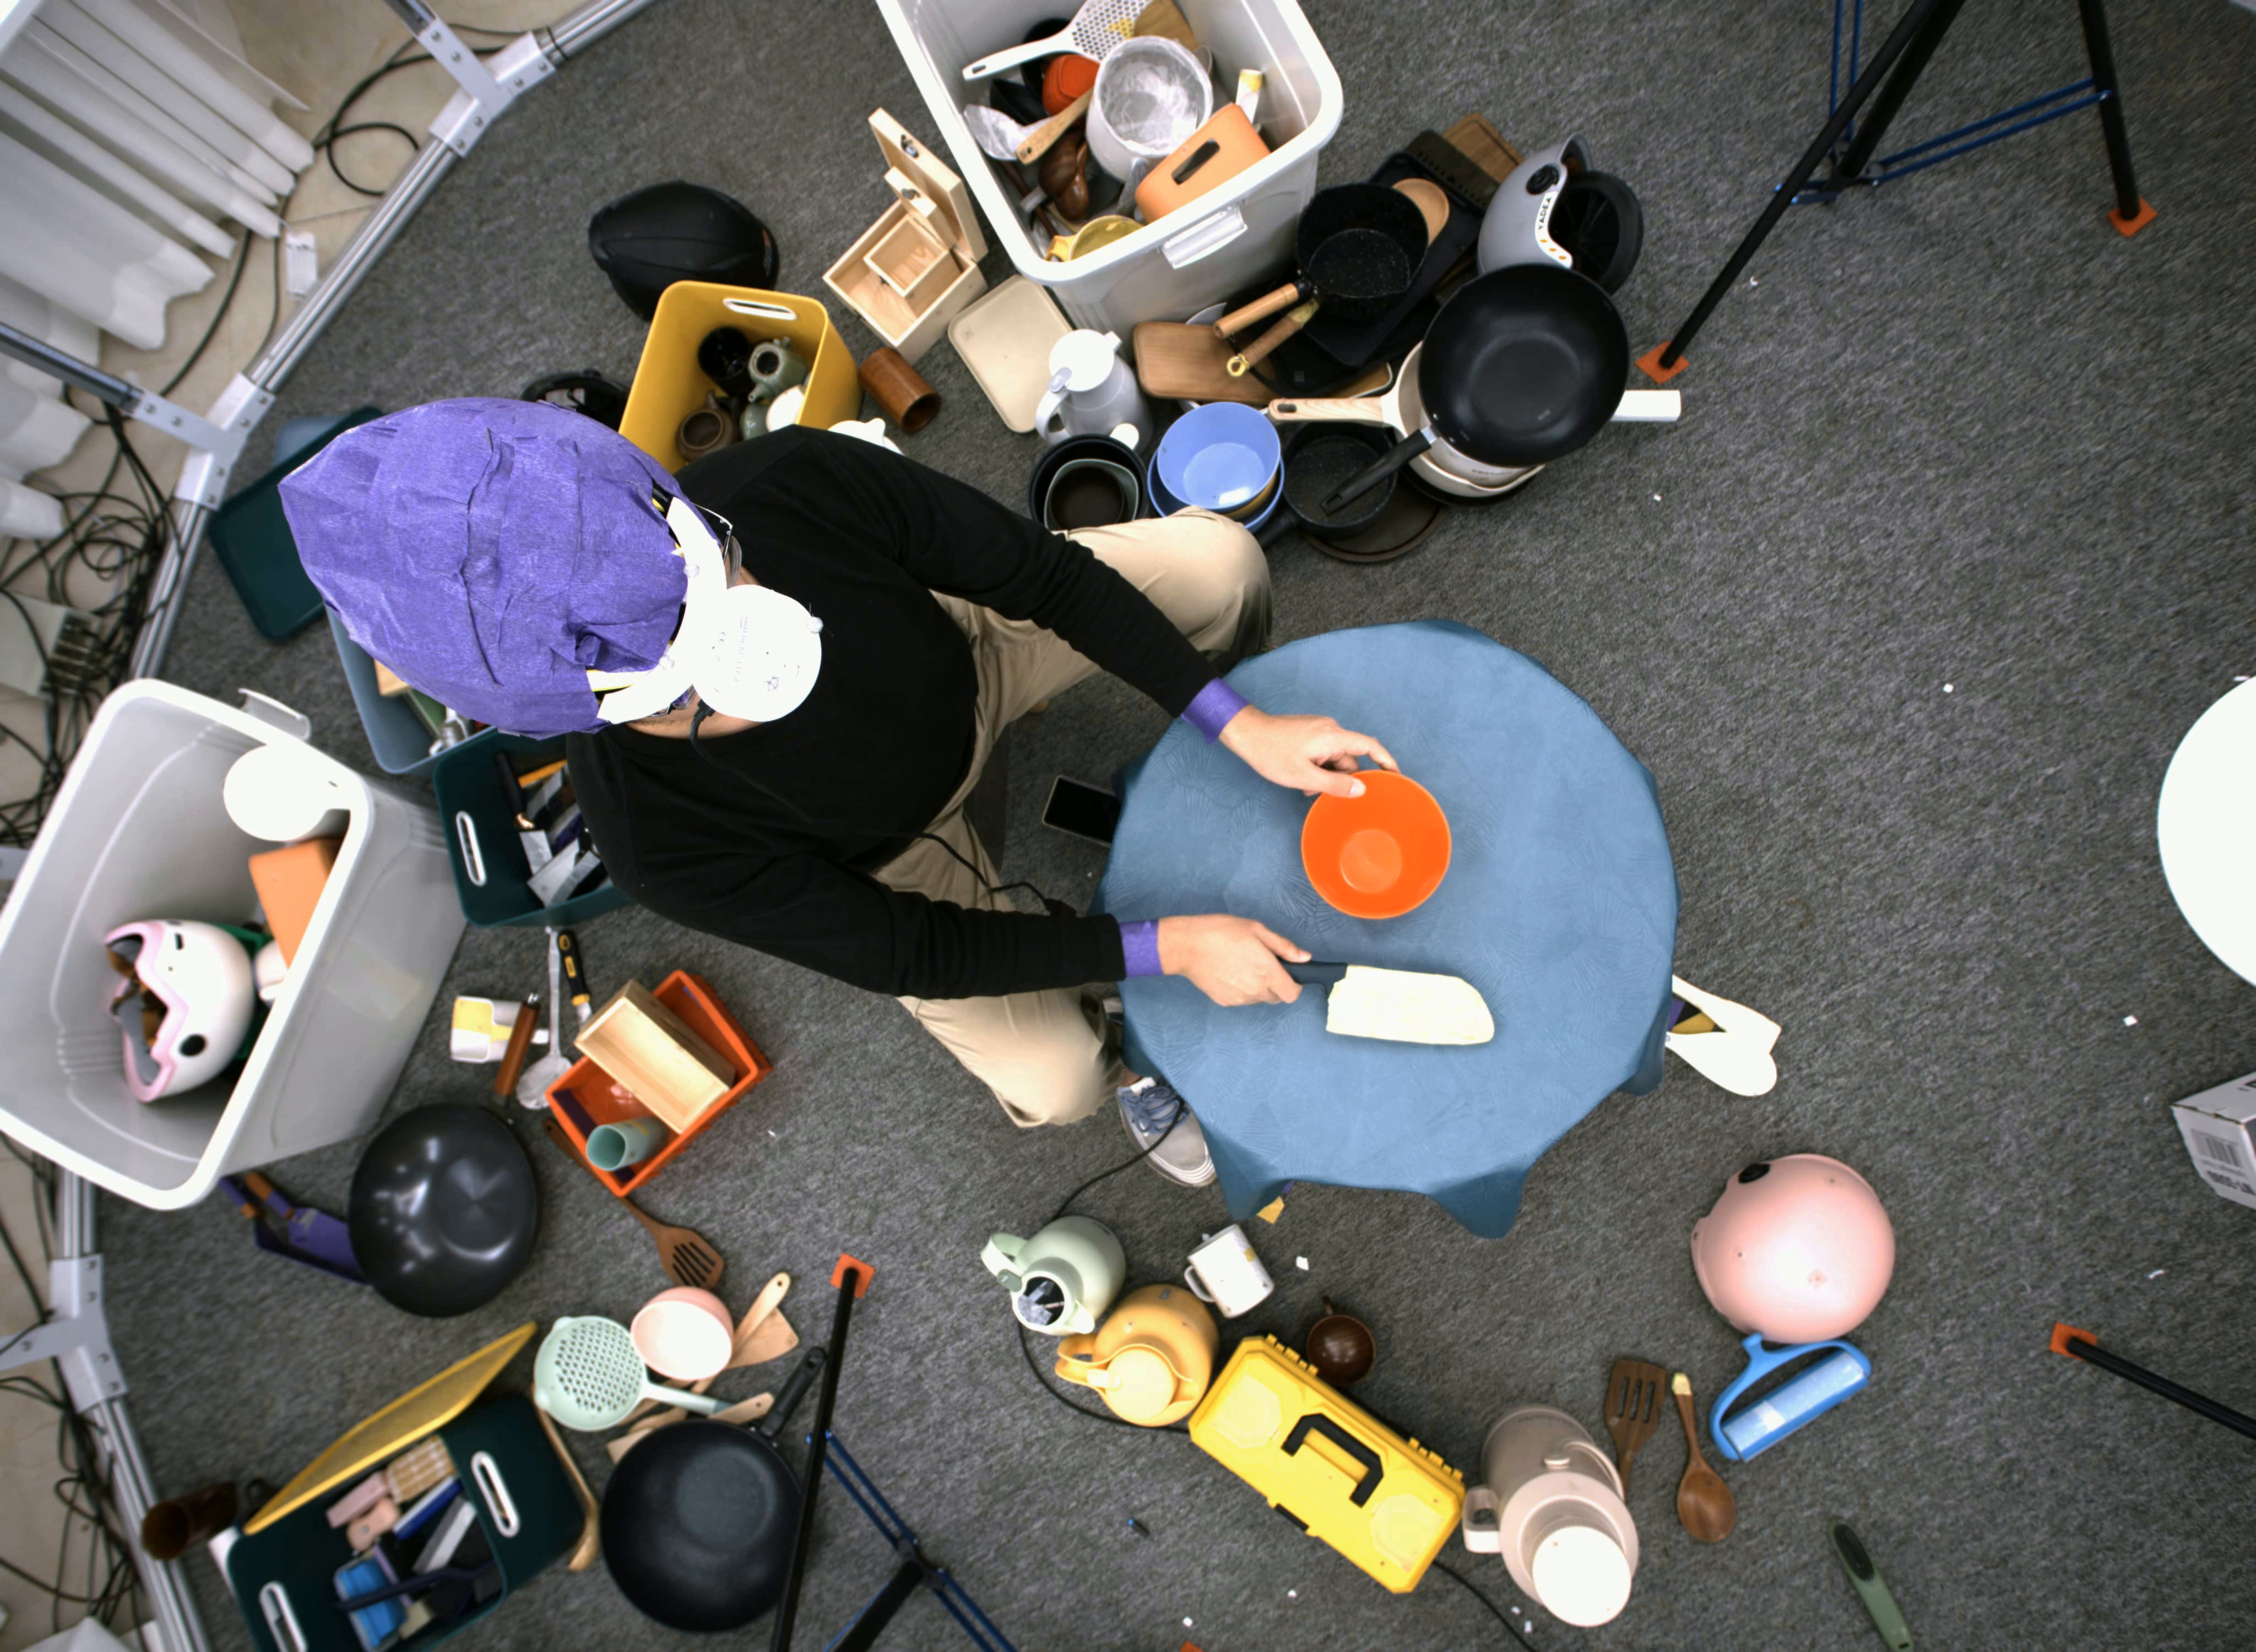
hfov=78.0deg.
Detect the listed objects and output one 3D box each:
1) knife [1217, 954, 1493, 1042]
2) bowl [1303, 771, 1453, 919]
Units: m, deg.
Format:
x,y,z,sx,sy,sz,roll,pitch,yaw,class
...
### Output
x,y,z,sx,sy,sz,roll,pitch,yaw,class
0.232,0.176,1.426,0.290,0.027,0.081,9,100,8,knife
0.255,0.022,1.415,0.148,0.104,0.147,-1,87,10,bowl
